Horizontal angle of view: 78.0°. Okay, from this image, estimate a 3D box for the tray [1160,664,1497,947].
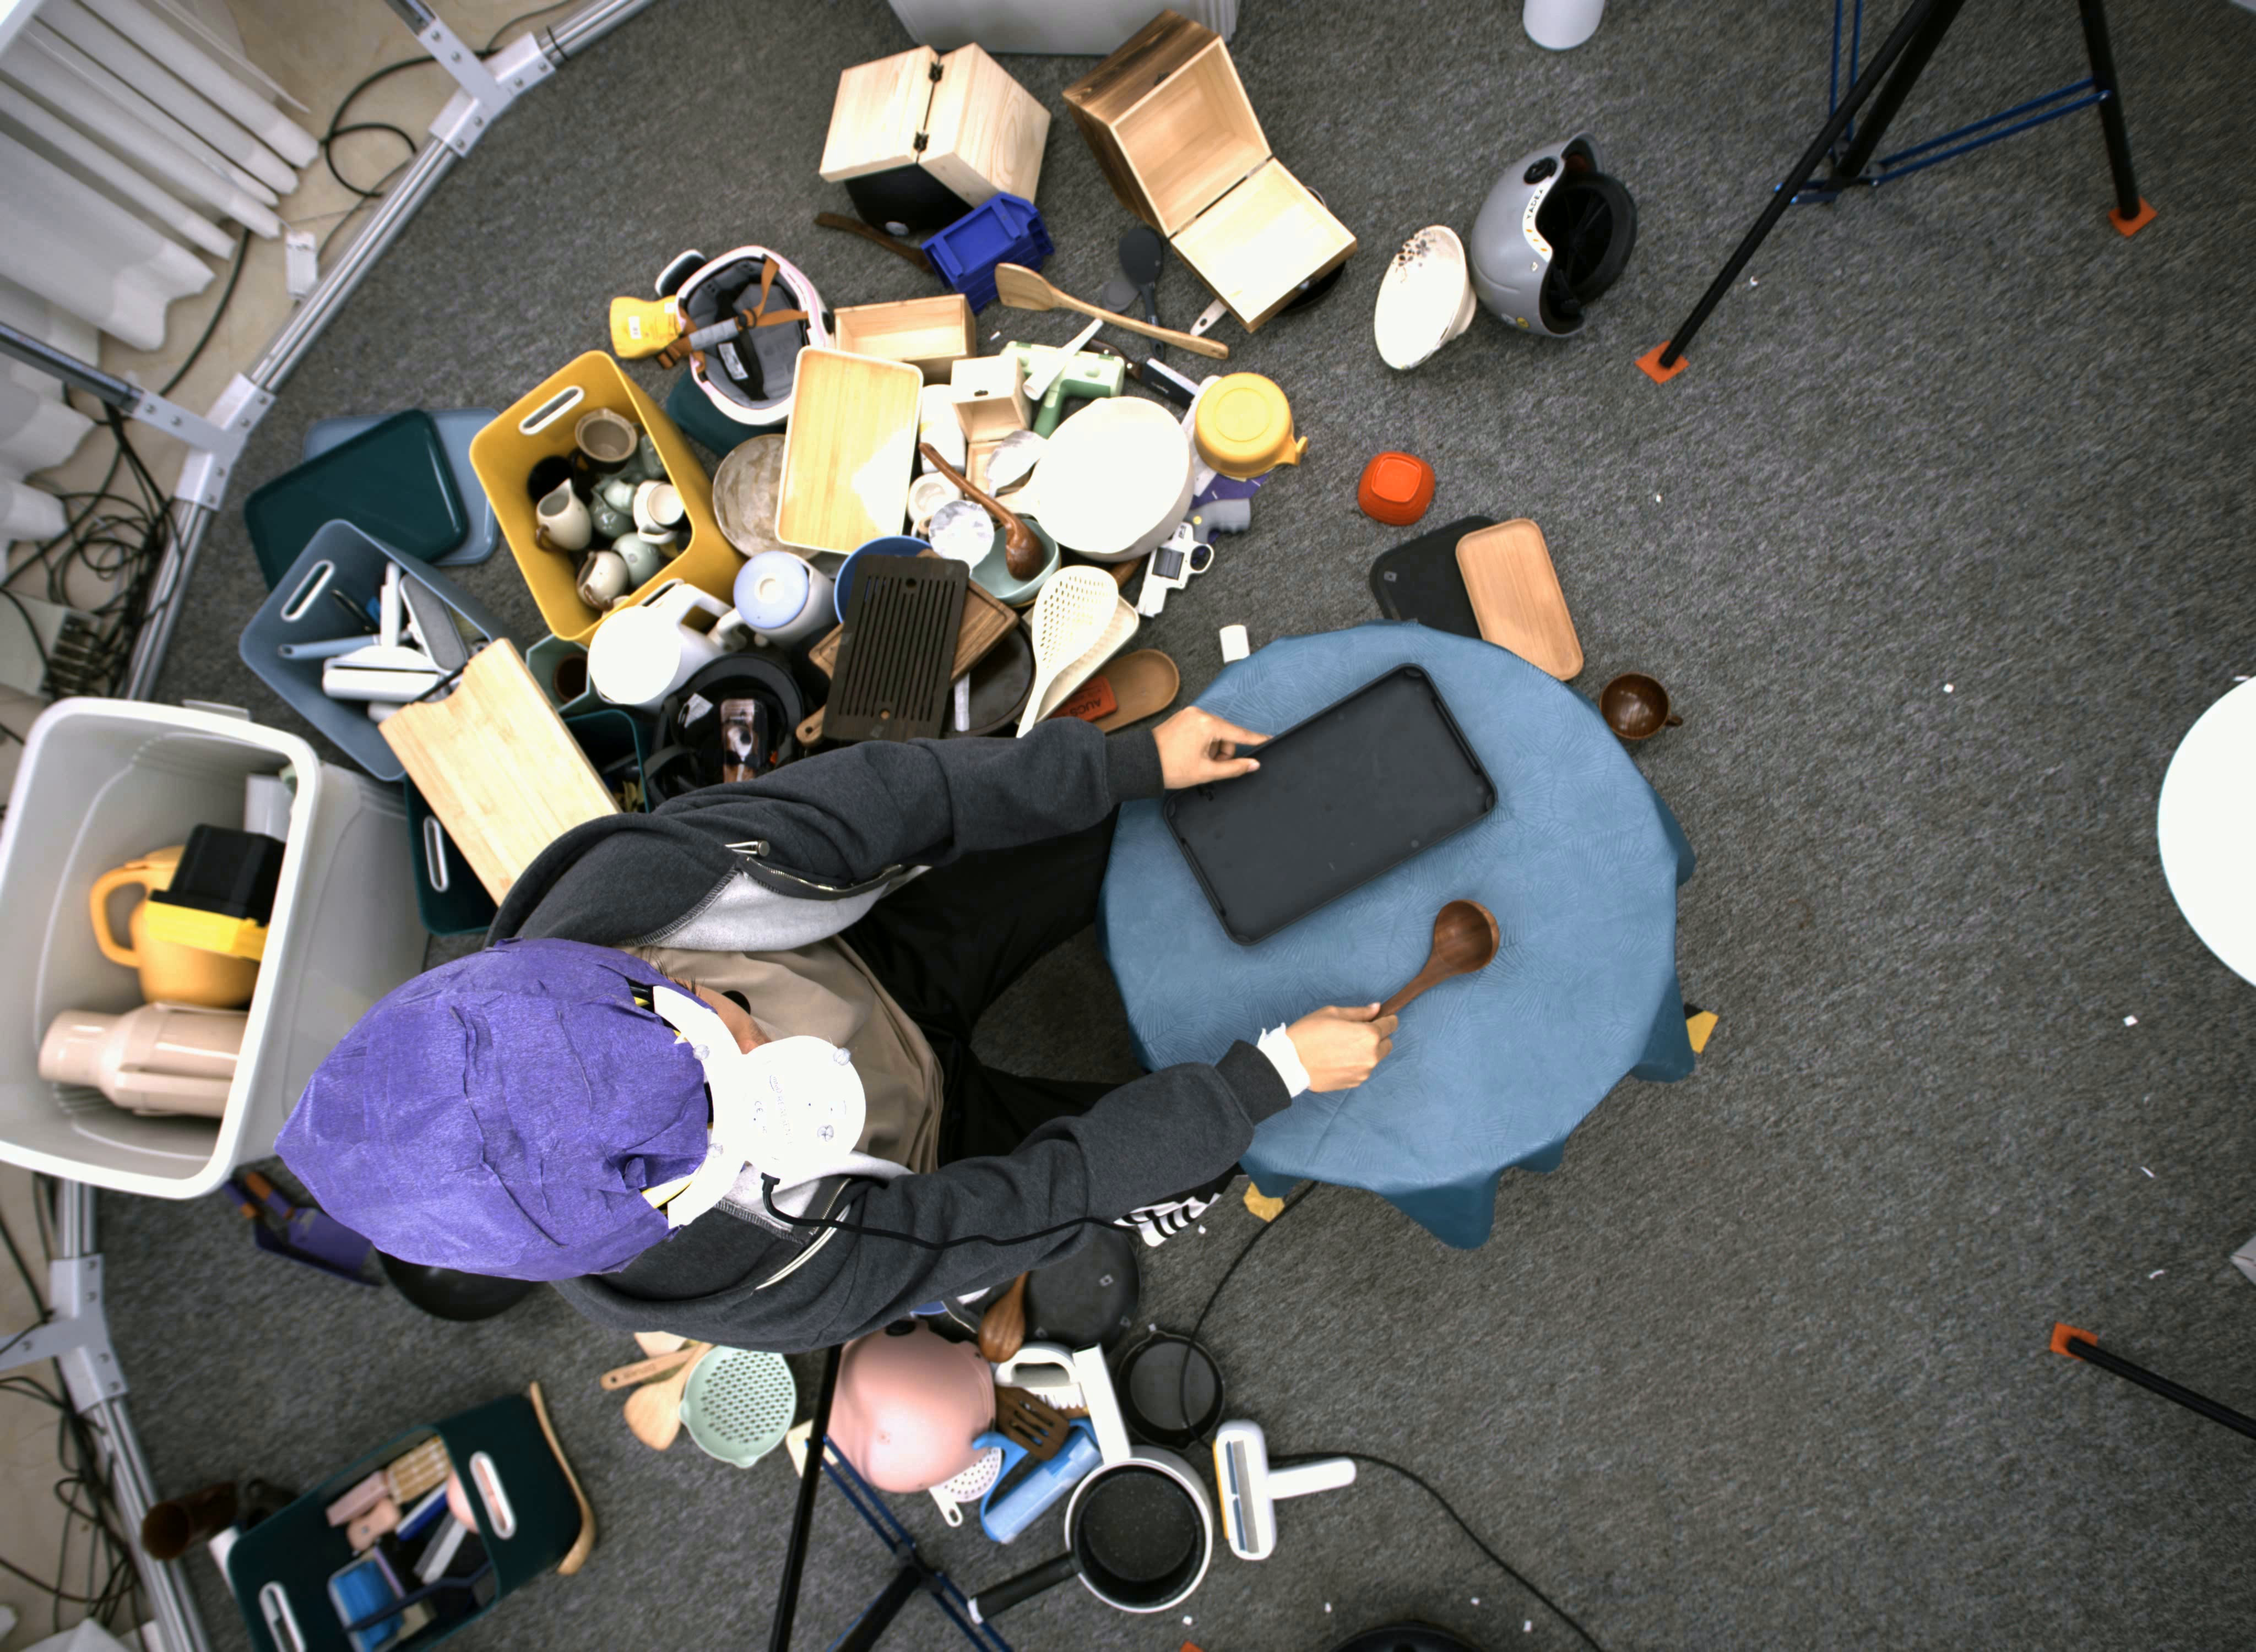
[{"bbox_3d":[0.209,-0.022,1.454,0.319,0.037,0.183,-29,83,6],"label":"tray"}]

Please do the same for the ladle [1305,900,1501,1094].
[{"bbox_3d":[0.274,0.176,1.414,0.261,0.066,0.075,-41,54,2],"label":"ladle"}]
